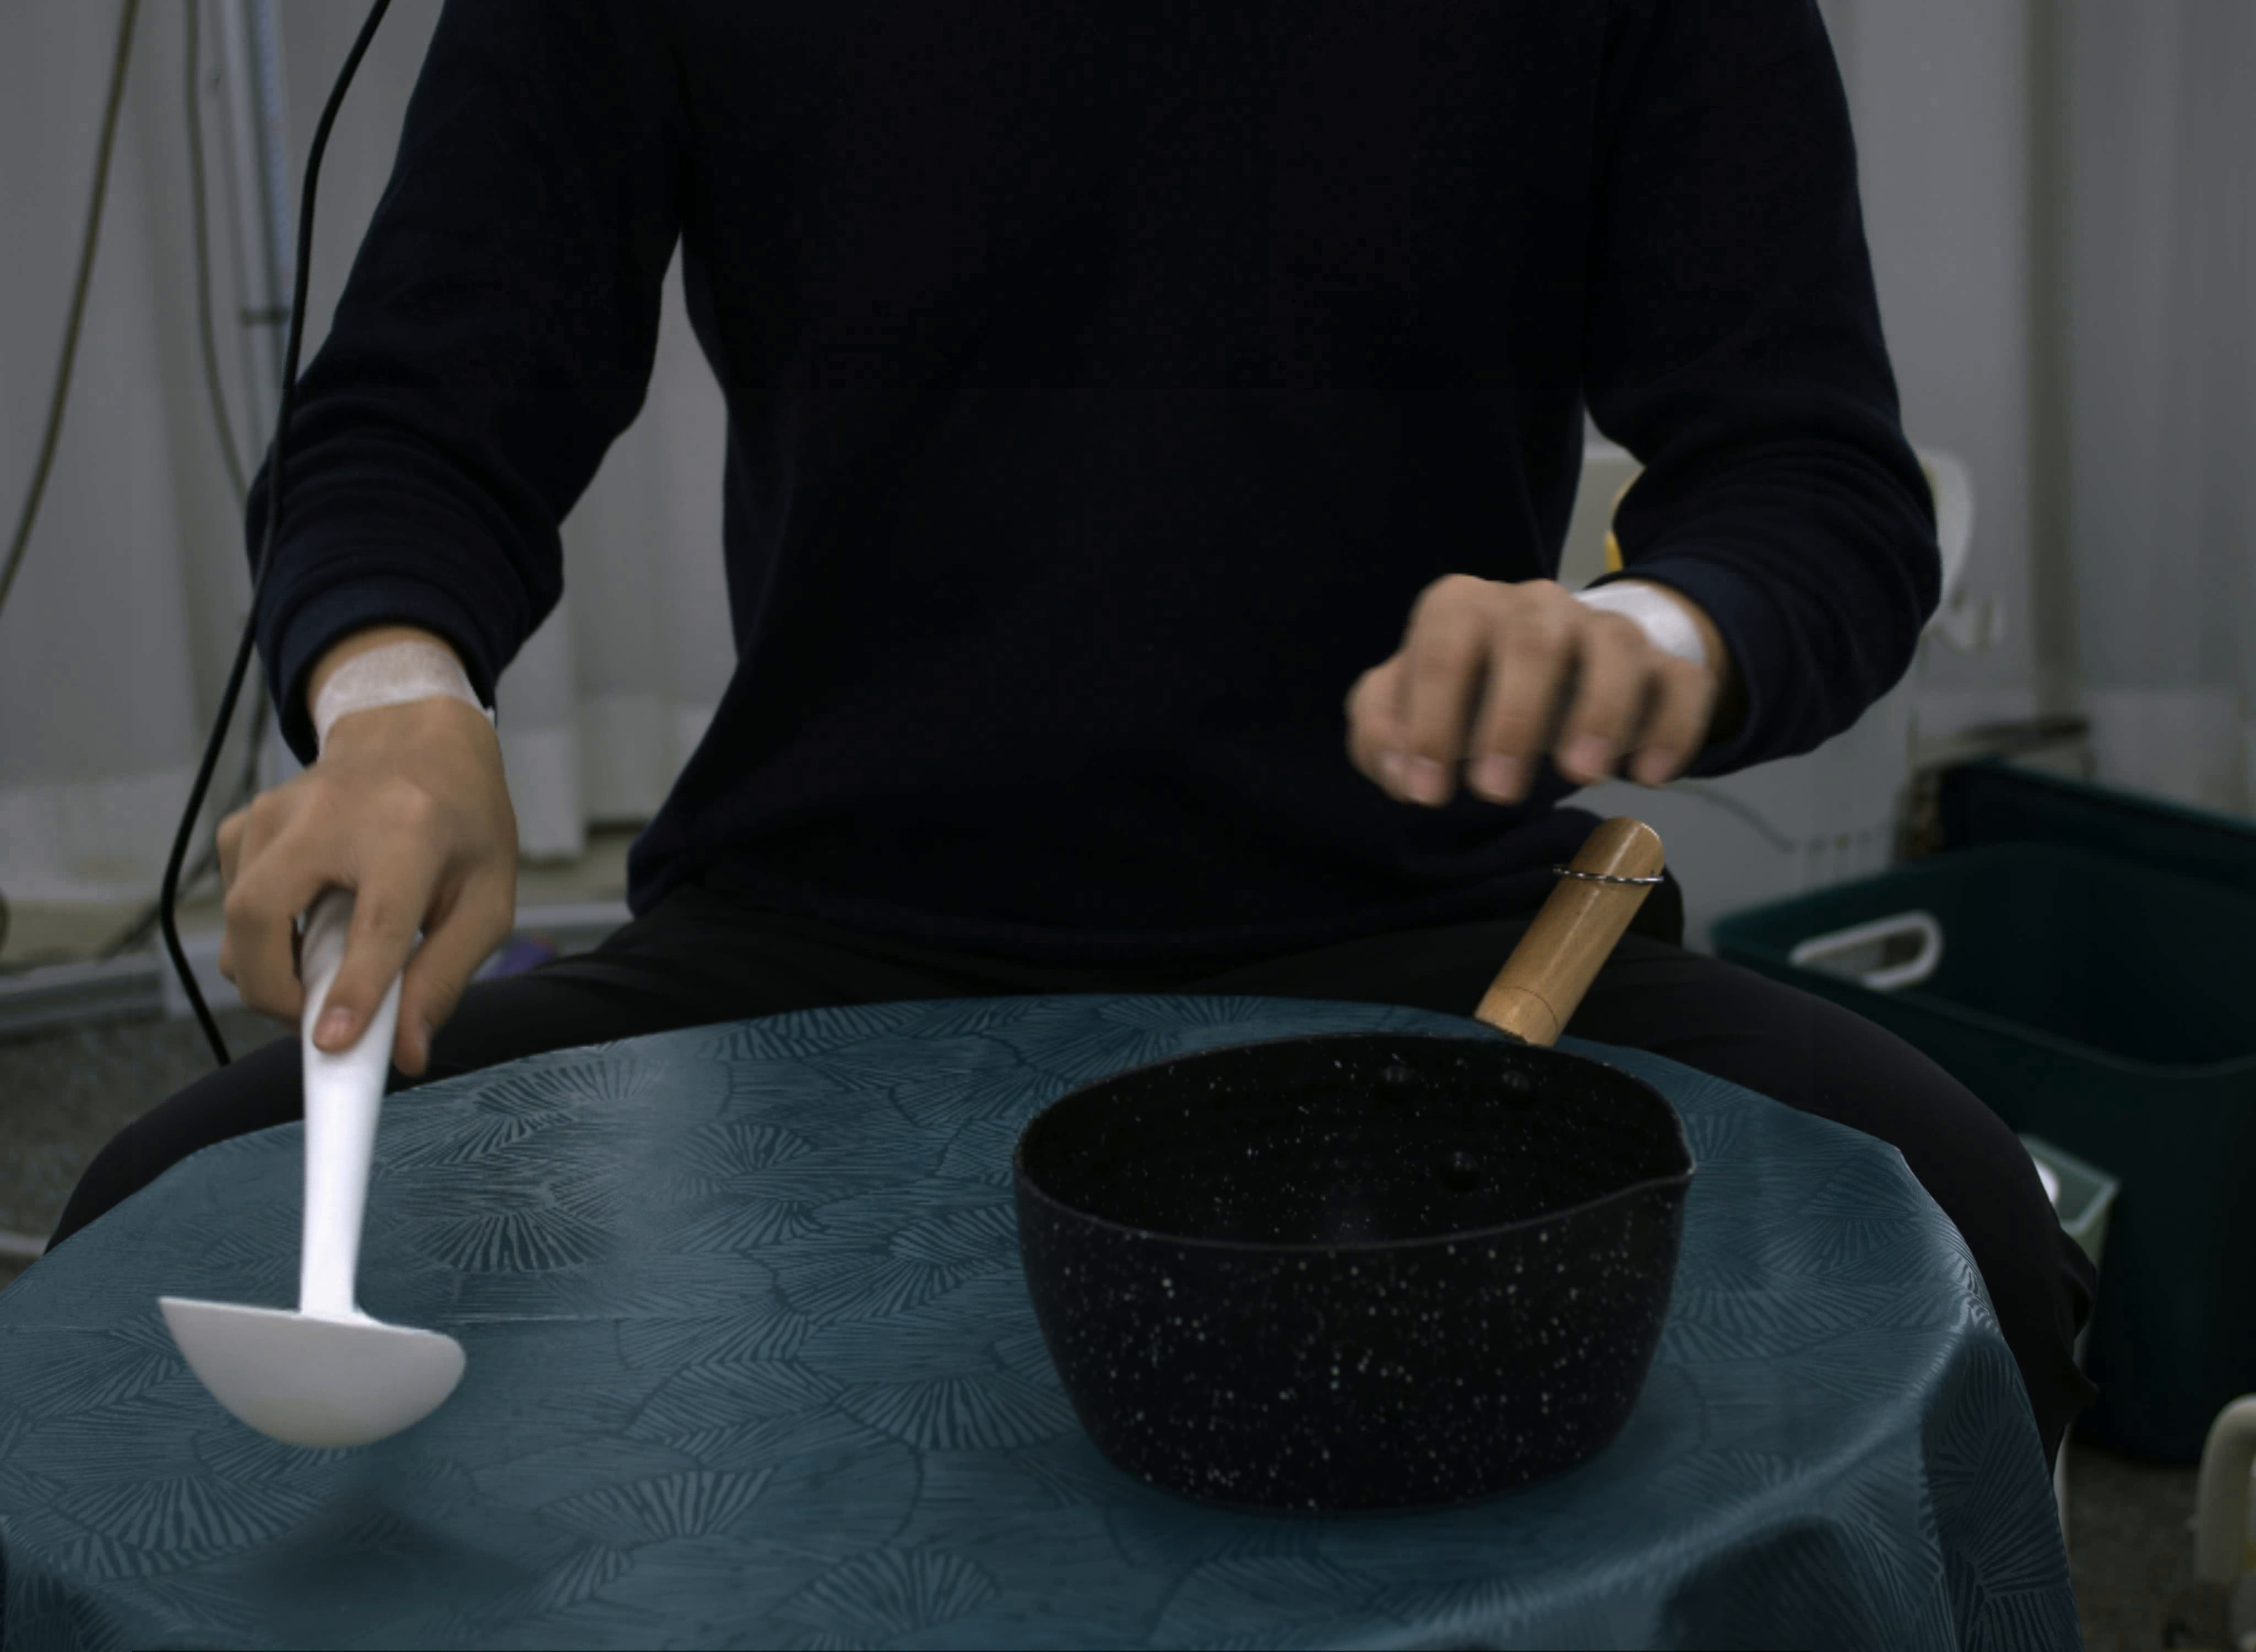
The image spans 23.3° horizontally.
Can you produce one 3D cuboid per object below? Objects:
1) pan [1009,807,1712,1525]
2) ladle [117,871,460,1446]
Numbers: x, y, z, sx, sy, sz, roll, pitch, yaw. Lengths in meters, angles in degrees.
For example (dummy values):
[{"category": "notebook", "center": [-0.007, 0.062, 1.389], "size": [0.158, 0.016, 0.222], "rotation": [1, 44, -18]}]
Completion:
[{"category": "pan", "center": [0.091, 0.092, 1.574], "size": [0.207, 0.108, 0.344], "rotation": [2, 17, 23]}, {"category": "ladle", "center": [-0.228, 0.081, 1.549], "size": [0.090, 0.069, 0.297], "rotation": [0, 29, -4]}]
